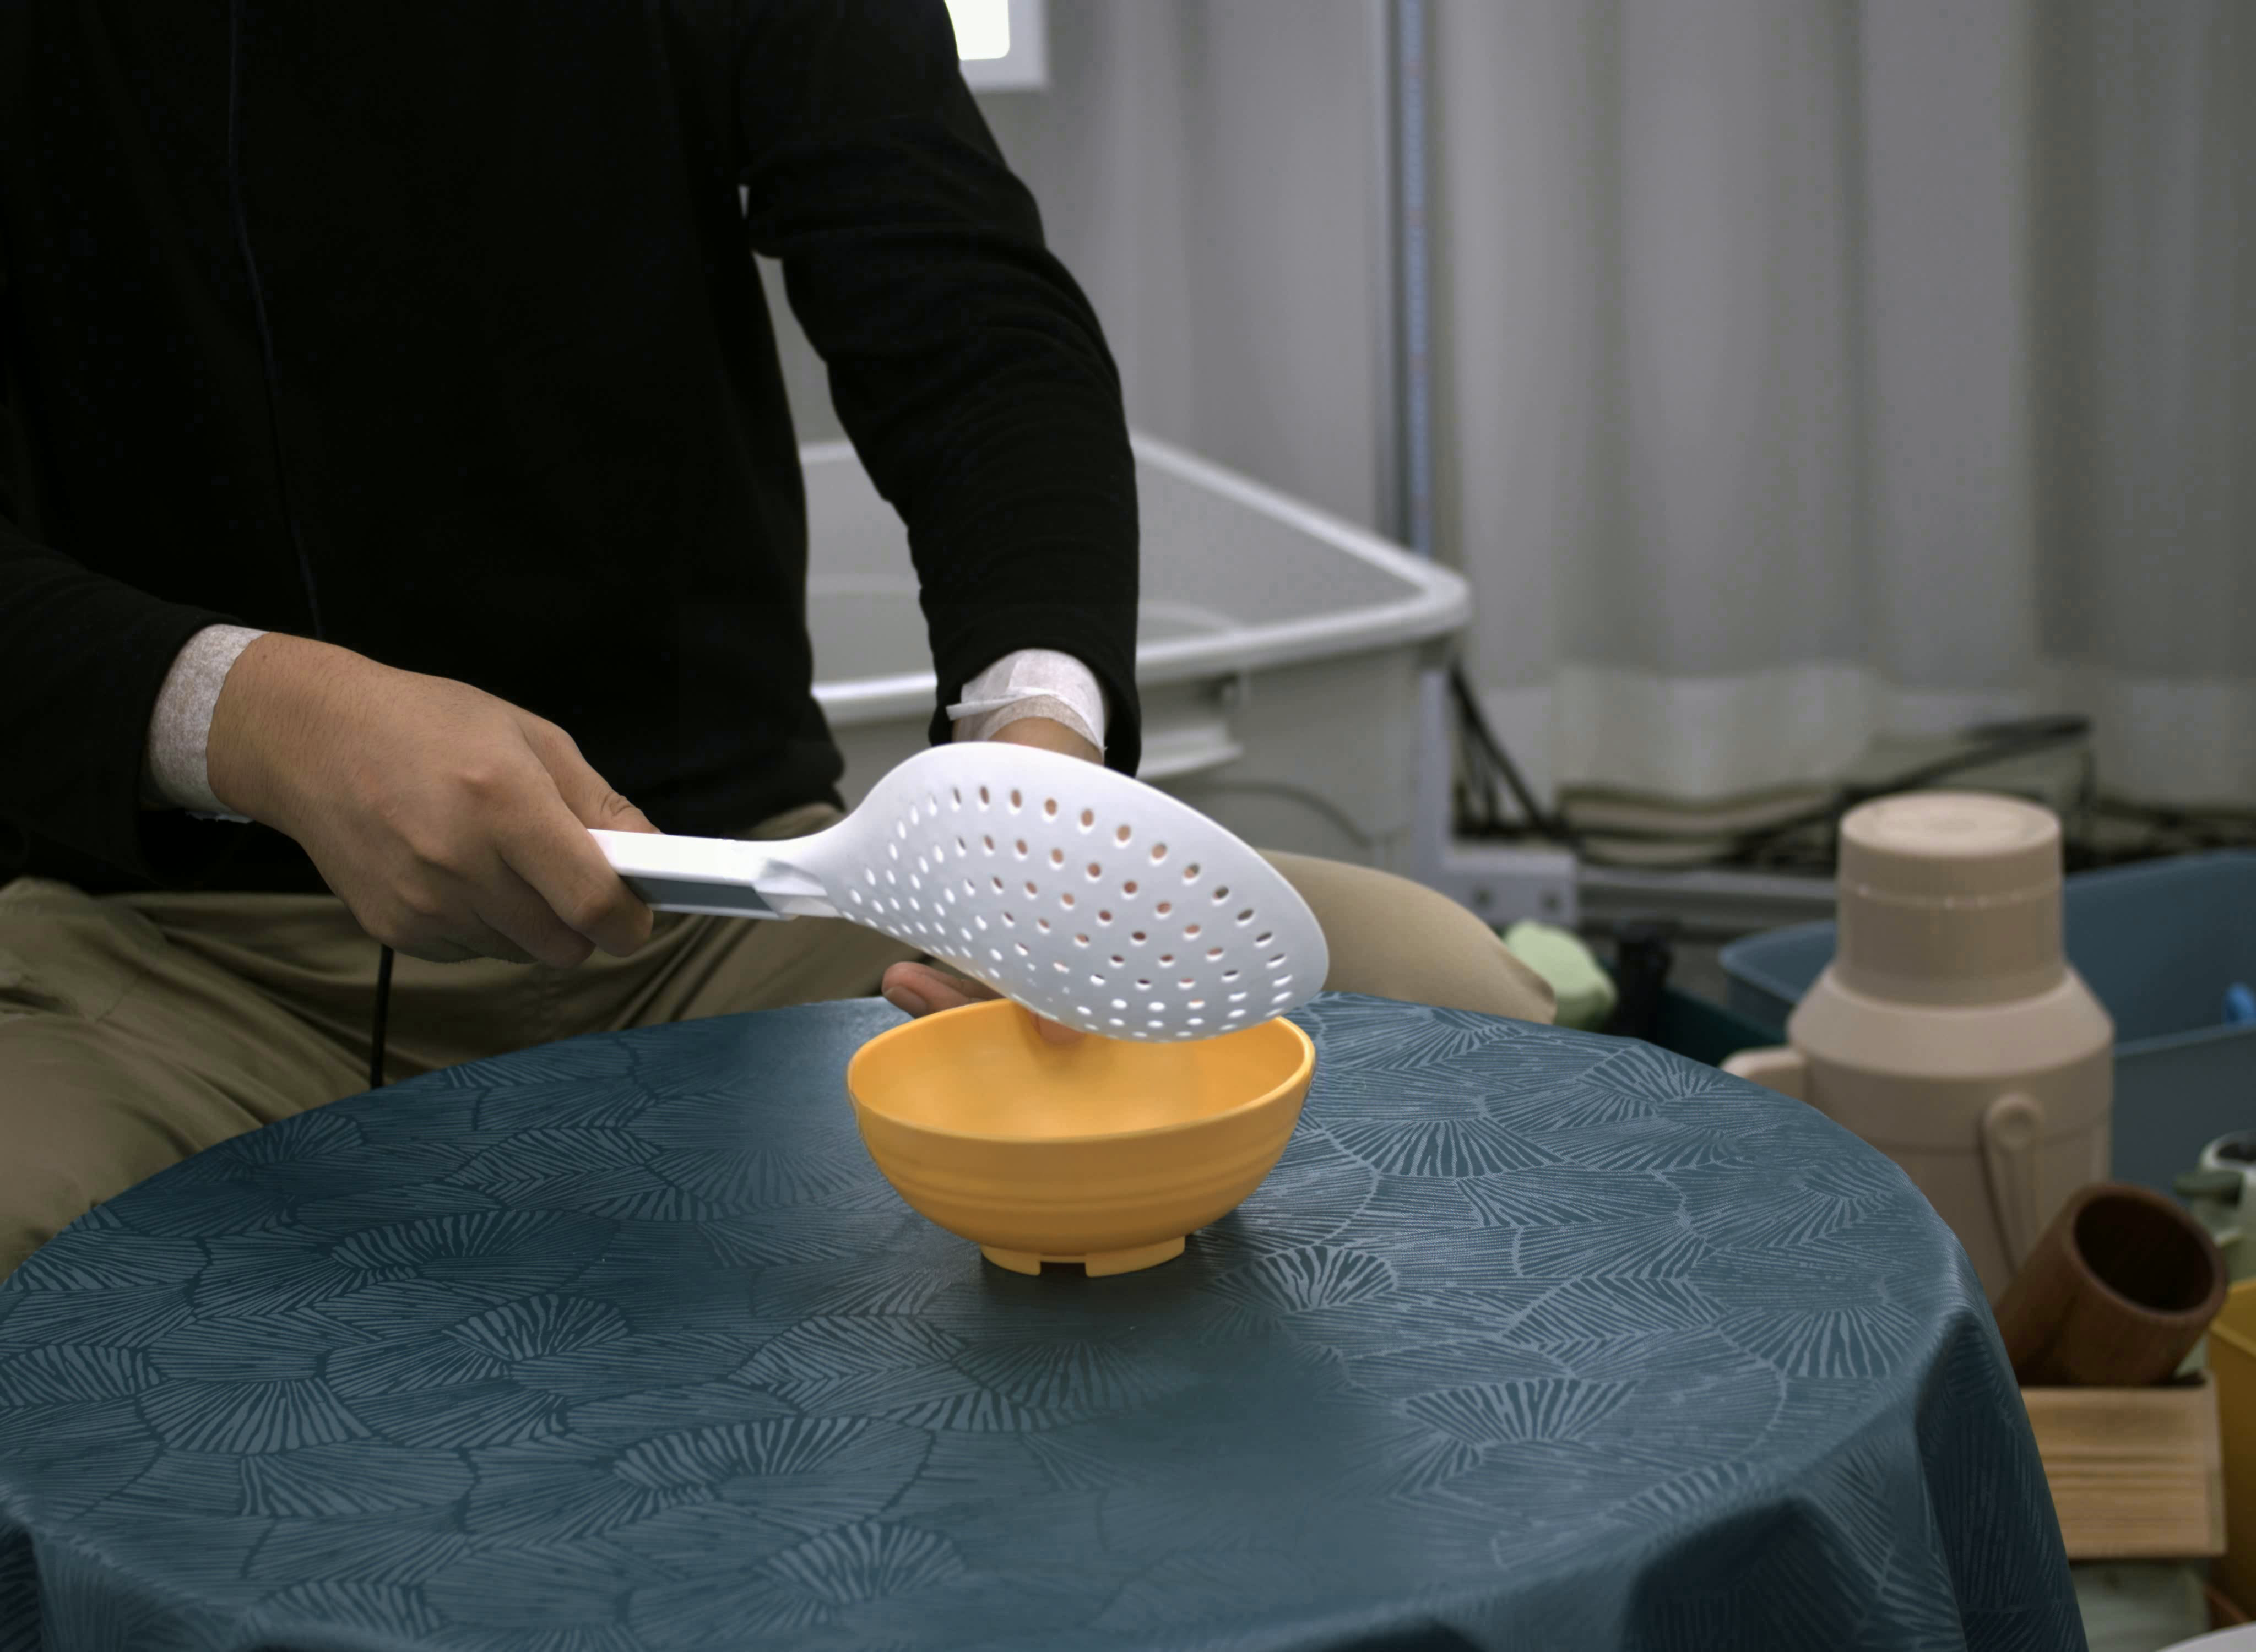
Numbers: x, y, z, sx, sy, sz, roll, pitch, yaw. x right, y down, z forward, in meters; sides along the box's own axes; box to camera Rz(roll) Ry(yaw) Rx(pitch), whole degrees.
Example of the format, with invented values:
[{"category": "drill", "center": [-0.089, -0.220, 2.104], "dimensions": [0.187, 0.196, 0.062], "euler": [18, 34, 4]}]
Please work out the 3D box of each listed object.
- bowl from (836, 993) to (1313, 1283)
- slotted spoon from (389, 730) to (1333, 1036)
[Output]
[{"category": "bowl", "center": [-0.016, 0.100, 1.662], "dimensions": [0.145, 0.060, 0.146], "euler": [-1, 15, 0]}, {"category": "slotted spoon", "center": [-0.092, 0.015, 1.629], "dimensions": [0.351, 0.134, 0.046], "euler": [8, 59, 41]}]
